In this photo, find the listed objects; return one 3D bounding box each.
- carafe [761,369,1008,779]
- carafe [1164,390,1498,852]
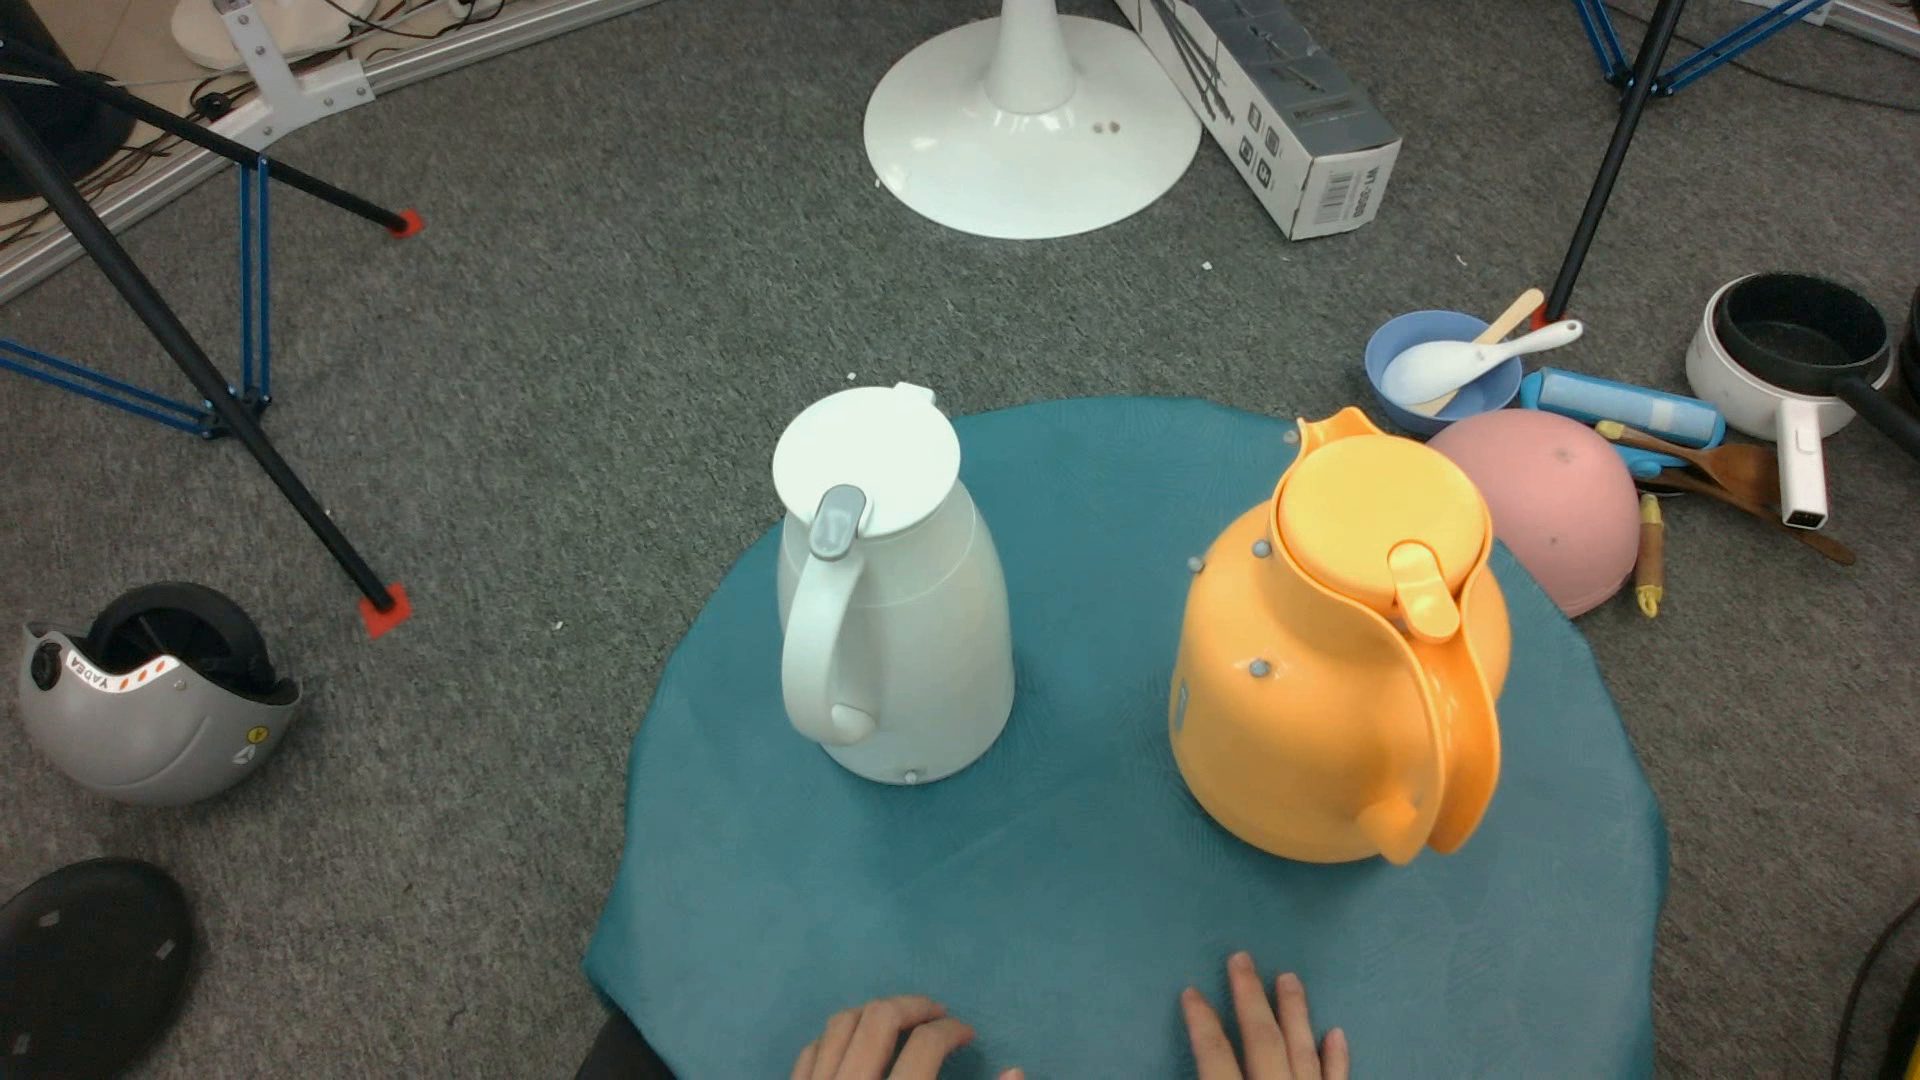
[{"bbox_3d":[-0.049,0.035,0.748,0.132,0.247,0.168,15,58,13],"label":"carafe"},{"bbox_3d":[0.195,0.063,0.709,0.163,0.259,0.203,-12,55,-2],"label":"carafe"}]
